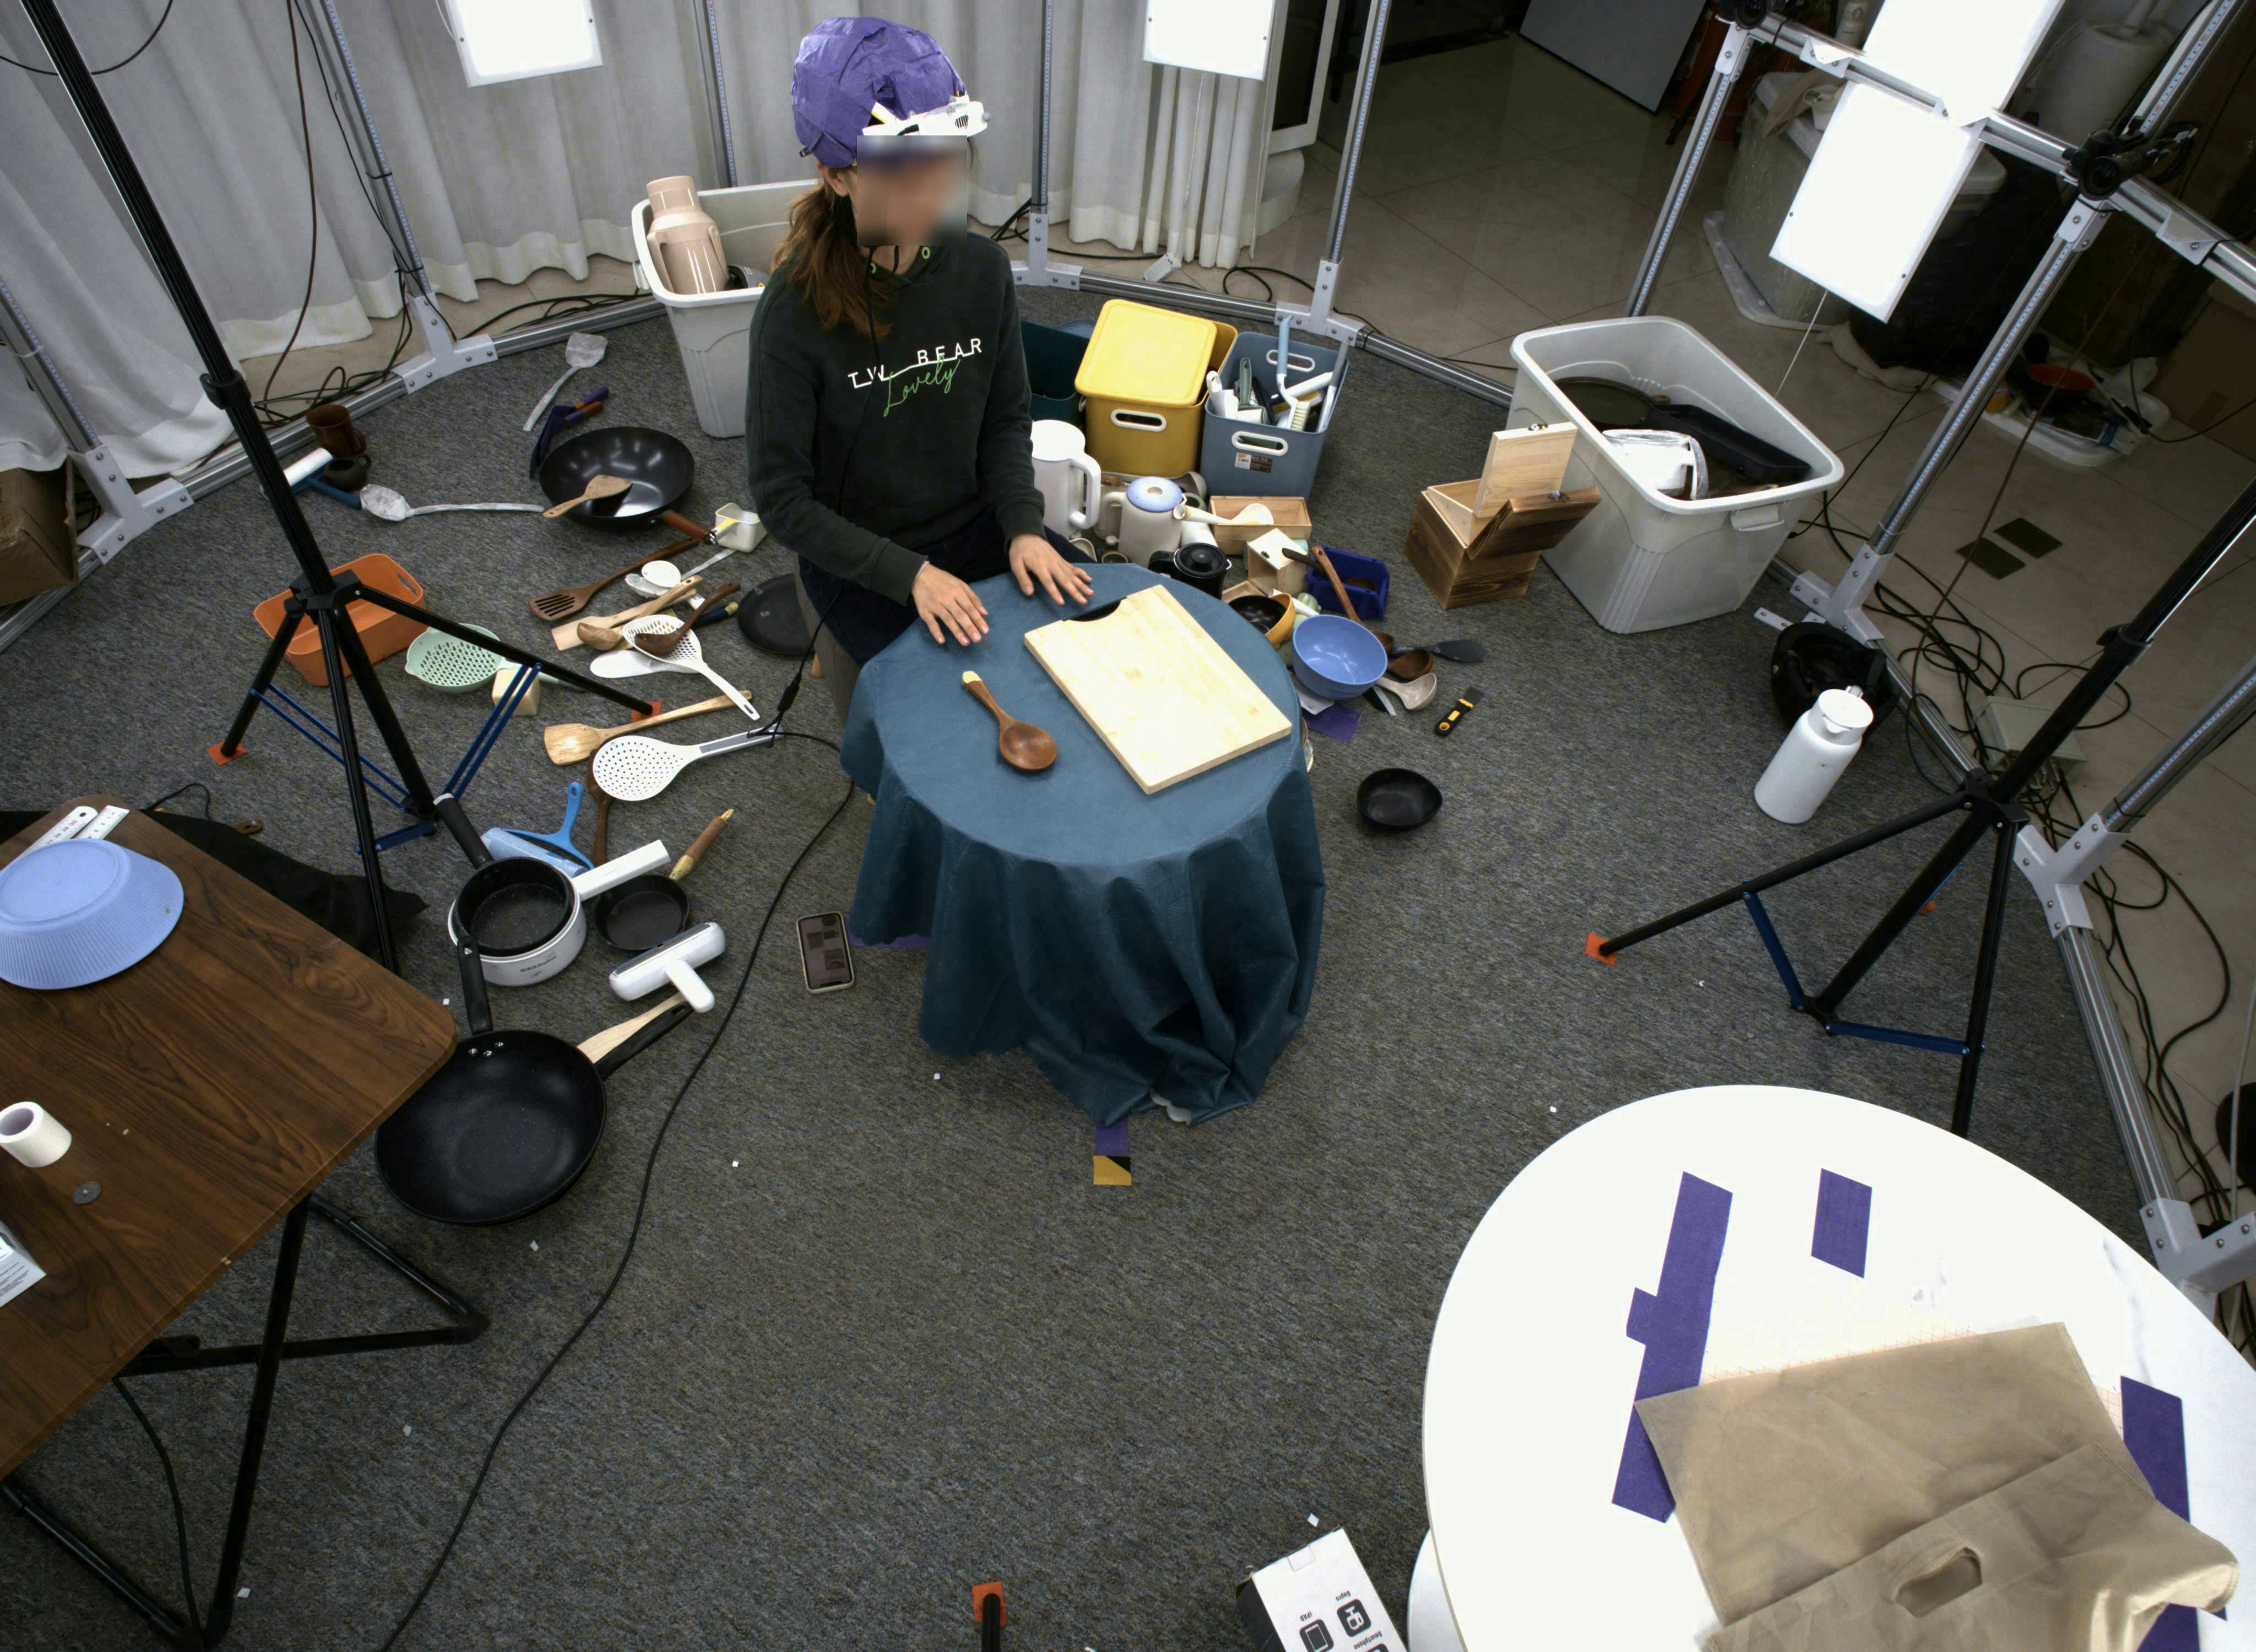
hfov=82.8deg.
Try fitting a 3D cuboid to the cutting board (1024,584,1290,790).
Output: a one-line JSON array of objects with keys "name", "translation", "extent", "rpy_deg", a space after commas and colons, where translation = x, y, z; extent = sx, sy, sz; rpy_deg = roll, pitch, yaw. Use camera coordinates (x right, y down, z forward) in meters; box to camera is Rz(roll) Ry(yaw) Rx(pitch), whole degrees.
[{"name": "cutting board", "translation": [0.037, -0.209, 1.859], "extent": [0.251, 0.023, 0.356], "rpy_deg": [-24, 54, -23]}]

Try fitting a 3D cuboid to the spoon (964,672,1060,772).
[{"name": "spoon", "translation": [-0.168, -0.146, 1.789], "extent": [0.076, 0.017, 0.220], "rpy_deg": [-25, 56, -22]}]
